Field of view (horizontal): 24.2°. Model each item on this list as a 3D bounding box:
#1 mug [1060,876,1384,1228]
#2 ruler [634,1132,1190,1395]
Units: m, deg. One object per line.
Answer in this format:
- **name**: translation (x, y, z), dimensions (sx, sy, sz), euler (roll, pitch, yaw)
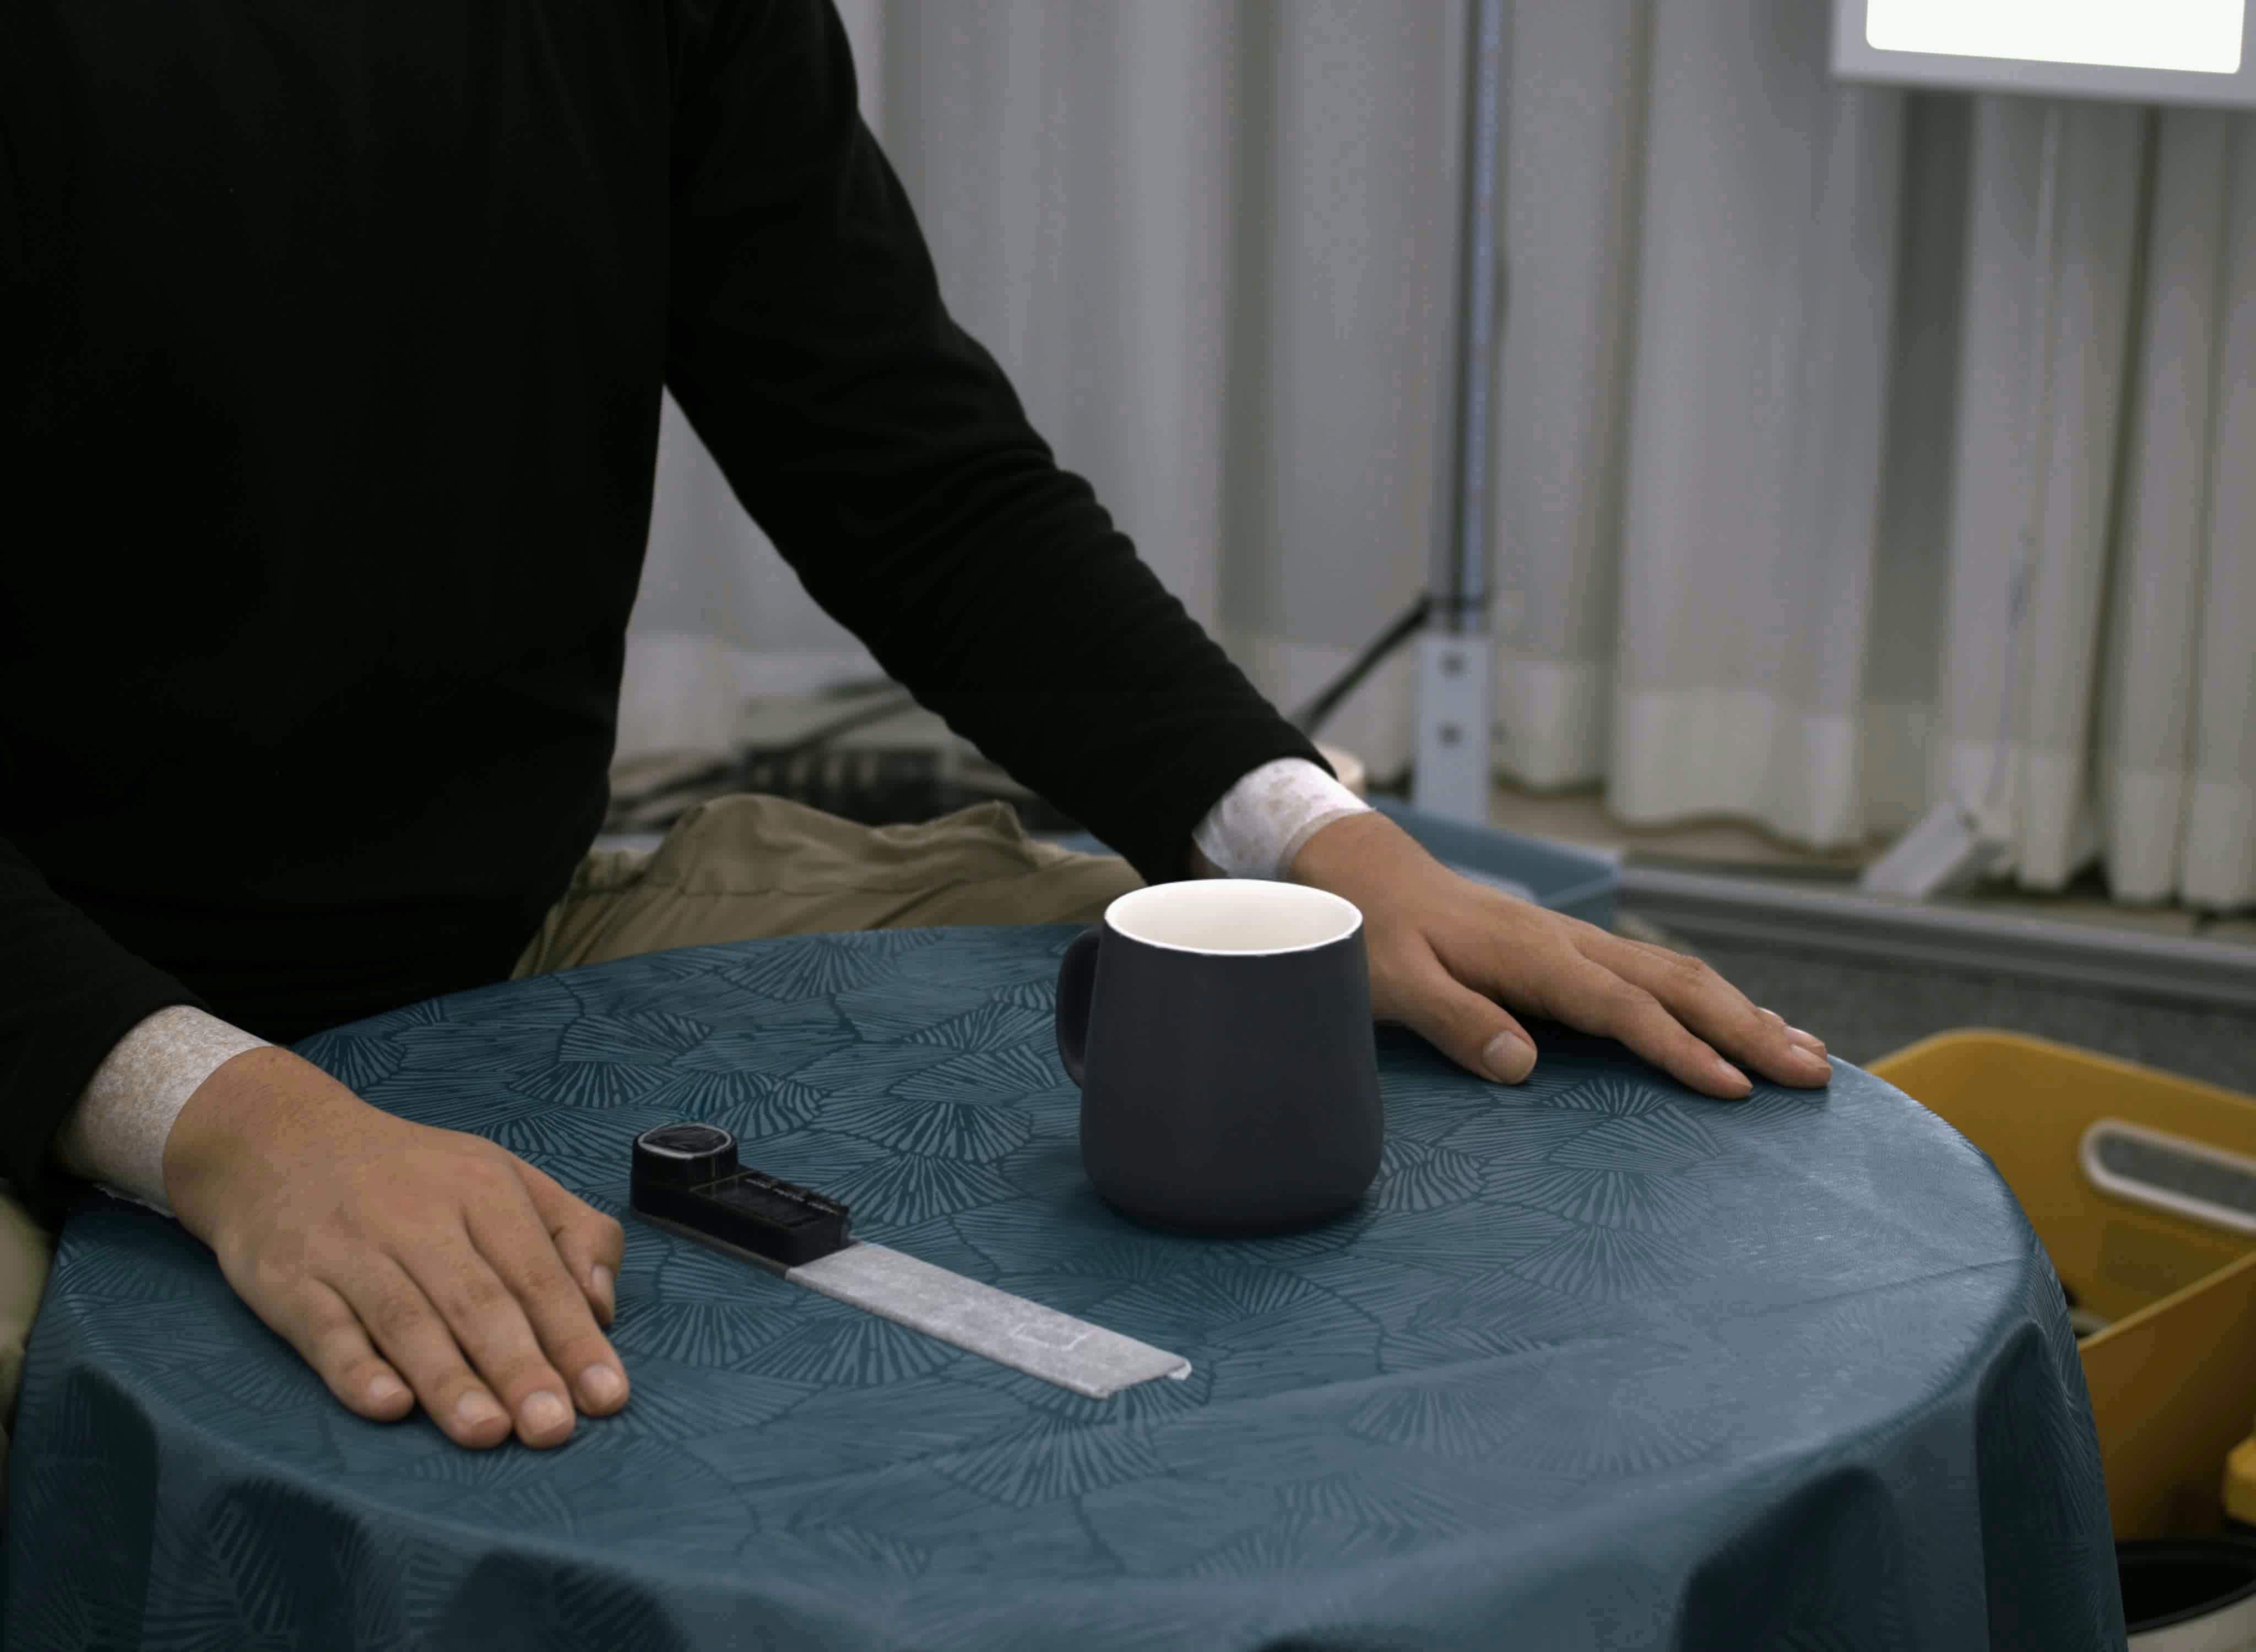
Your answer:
- **mug**: translation (0.023, 0.065, 1.616), dimensions (0.094, 0.090, 0.121), euler (-12, 21, -39)
- **ruler**: translation (-0.070, 0.124, 1.533), dimensions (0.038, 0.024, 0.215), euler (-22, 25, -40)
